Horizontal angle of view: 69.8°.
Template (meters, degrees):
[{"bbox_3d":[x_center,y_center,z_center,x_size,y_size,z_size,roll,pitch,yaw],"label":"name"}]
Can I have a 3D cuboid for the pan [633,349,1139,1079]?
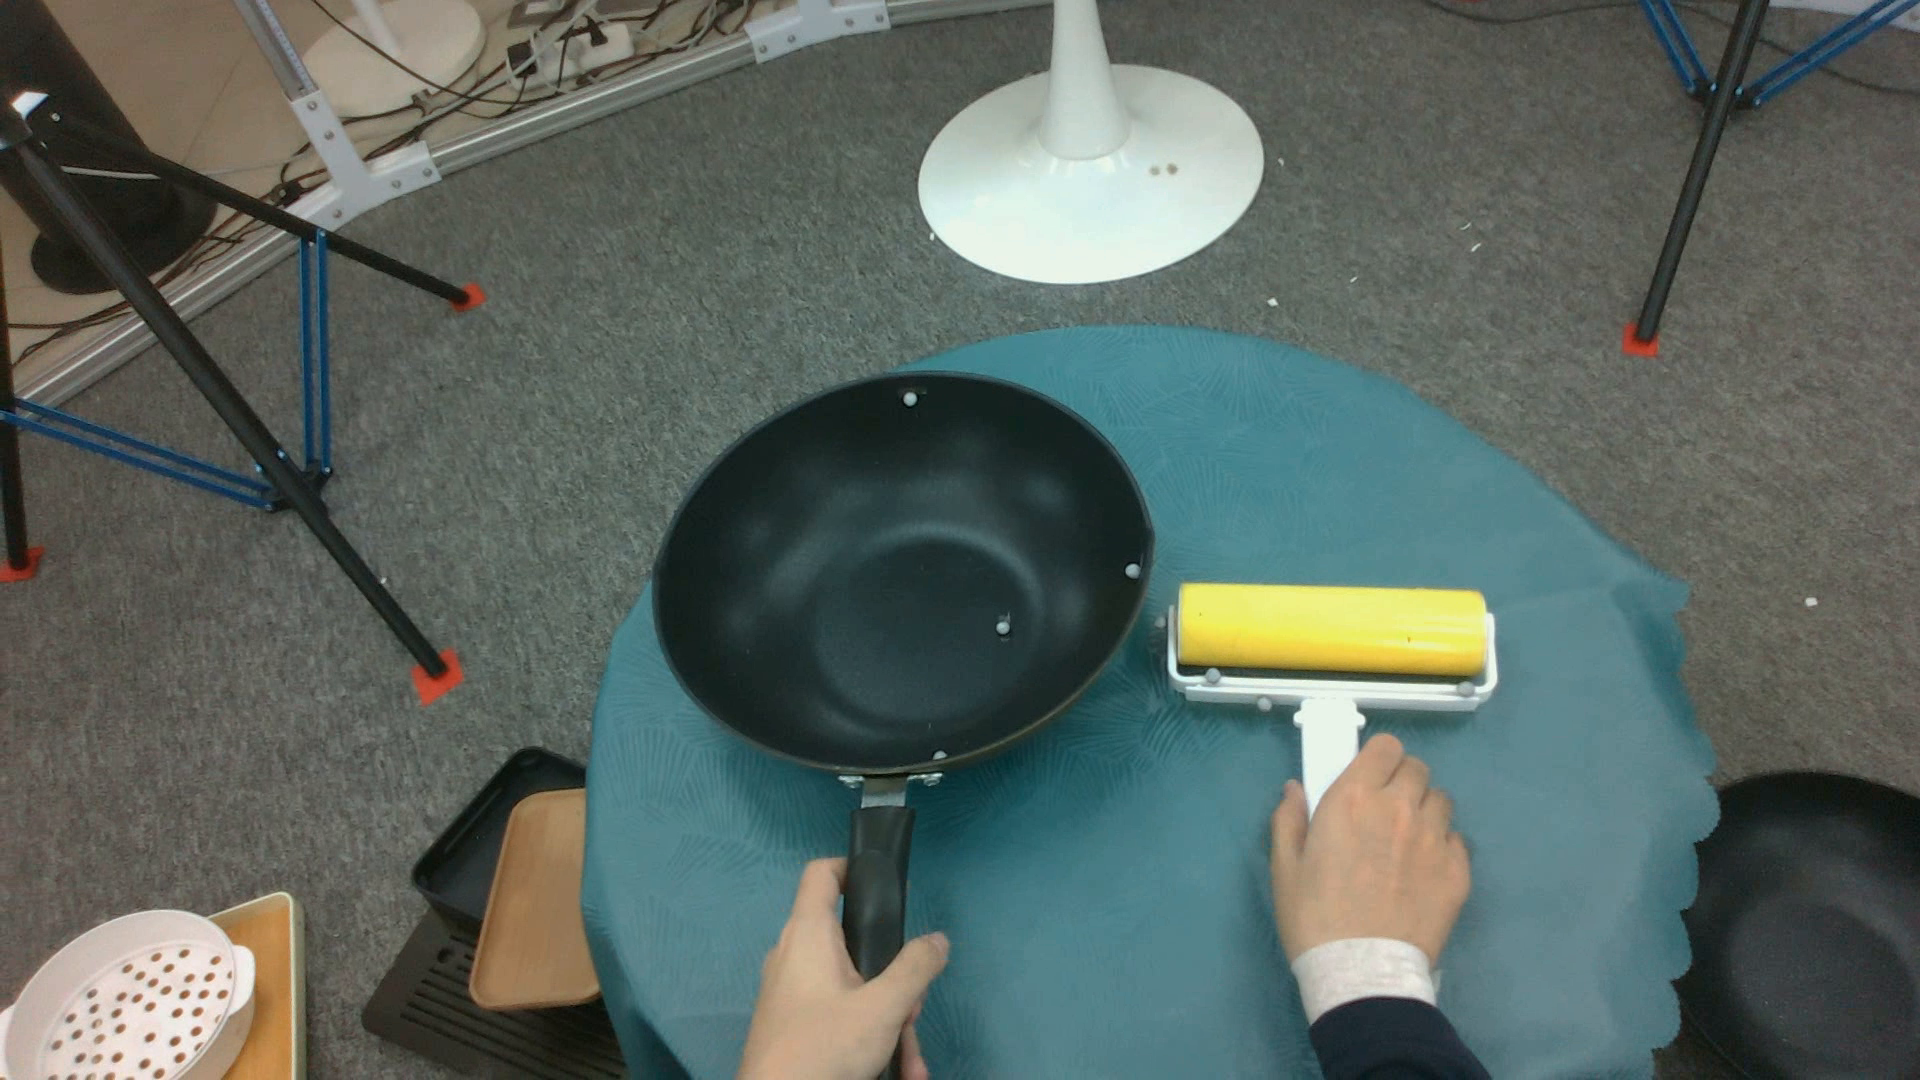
[{"bbox_3d":[-0.040,0.092,0.744,0.288,0.086,0.465,-4,53,6],"label":"pan"}]

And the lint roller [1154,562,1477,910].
[{"bbox_3d":[0.189,0.095,0.728,0.174,0.051,0.193,0,52,10],"label":"lint roller"}]
